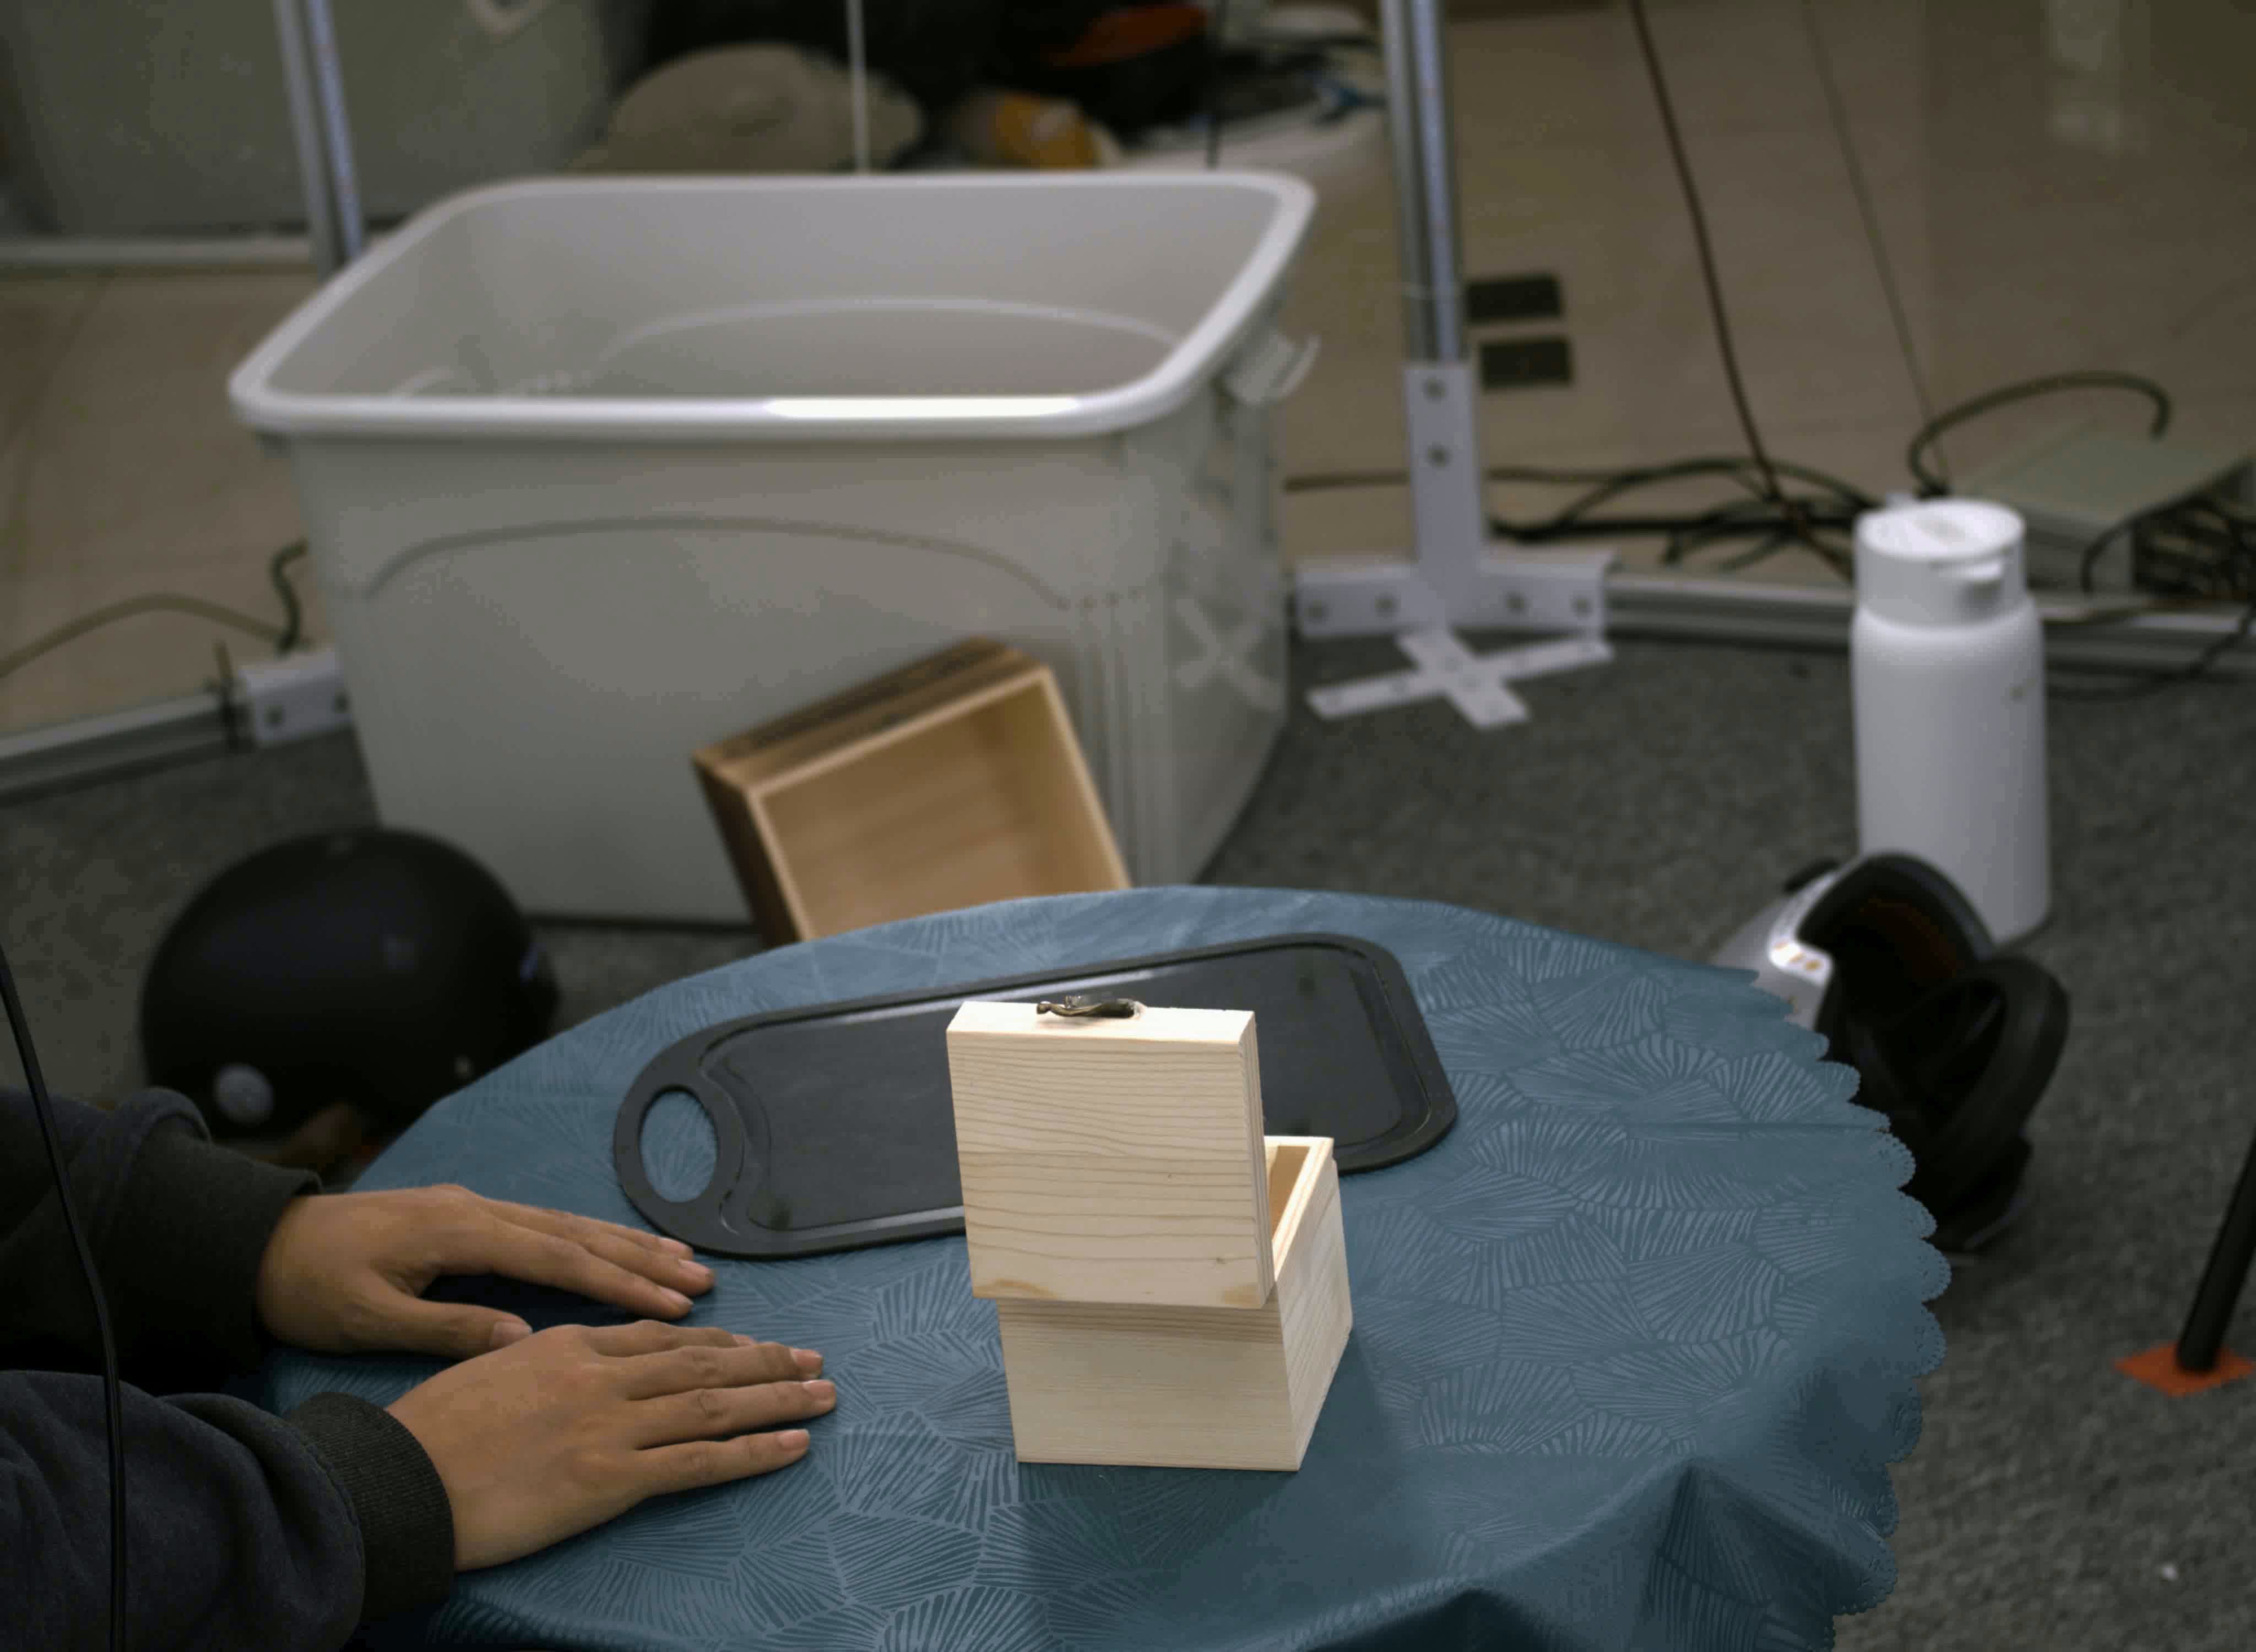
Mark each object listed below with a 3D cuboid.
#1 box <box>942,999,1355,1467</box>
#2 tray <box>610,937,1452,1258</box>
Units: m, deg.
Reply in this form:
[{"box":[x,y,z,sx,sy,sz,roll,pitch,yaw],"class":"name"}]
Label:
[{"box":[0.010,0.122,1.959,0.102,0.187,0.132,1,28,14],"class":"box"},{"box":[-0.042,0.104,2.224,0.325,0.010,0.208,-8,25,-3],"class":"tray"}]
